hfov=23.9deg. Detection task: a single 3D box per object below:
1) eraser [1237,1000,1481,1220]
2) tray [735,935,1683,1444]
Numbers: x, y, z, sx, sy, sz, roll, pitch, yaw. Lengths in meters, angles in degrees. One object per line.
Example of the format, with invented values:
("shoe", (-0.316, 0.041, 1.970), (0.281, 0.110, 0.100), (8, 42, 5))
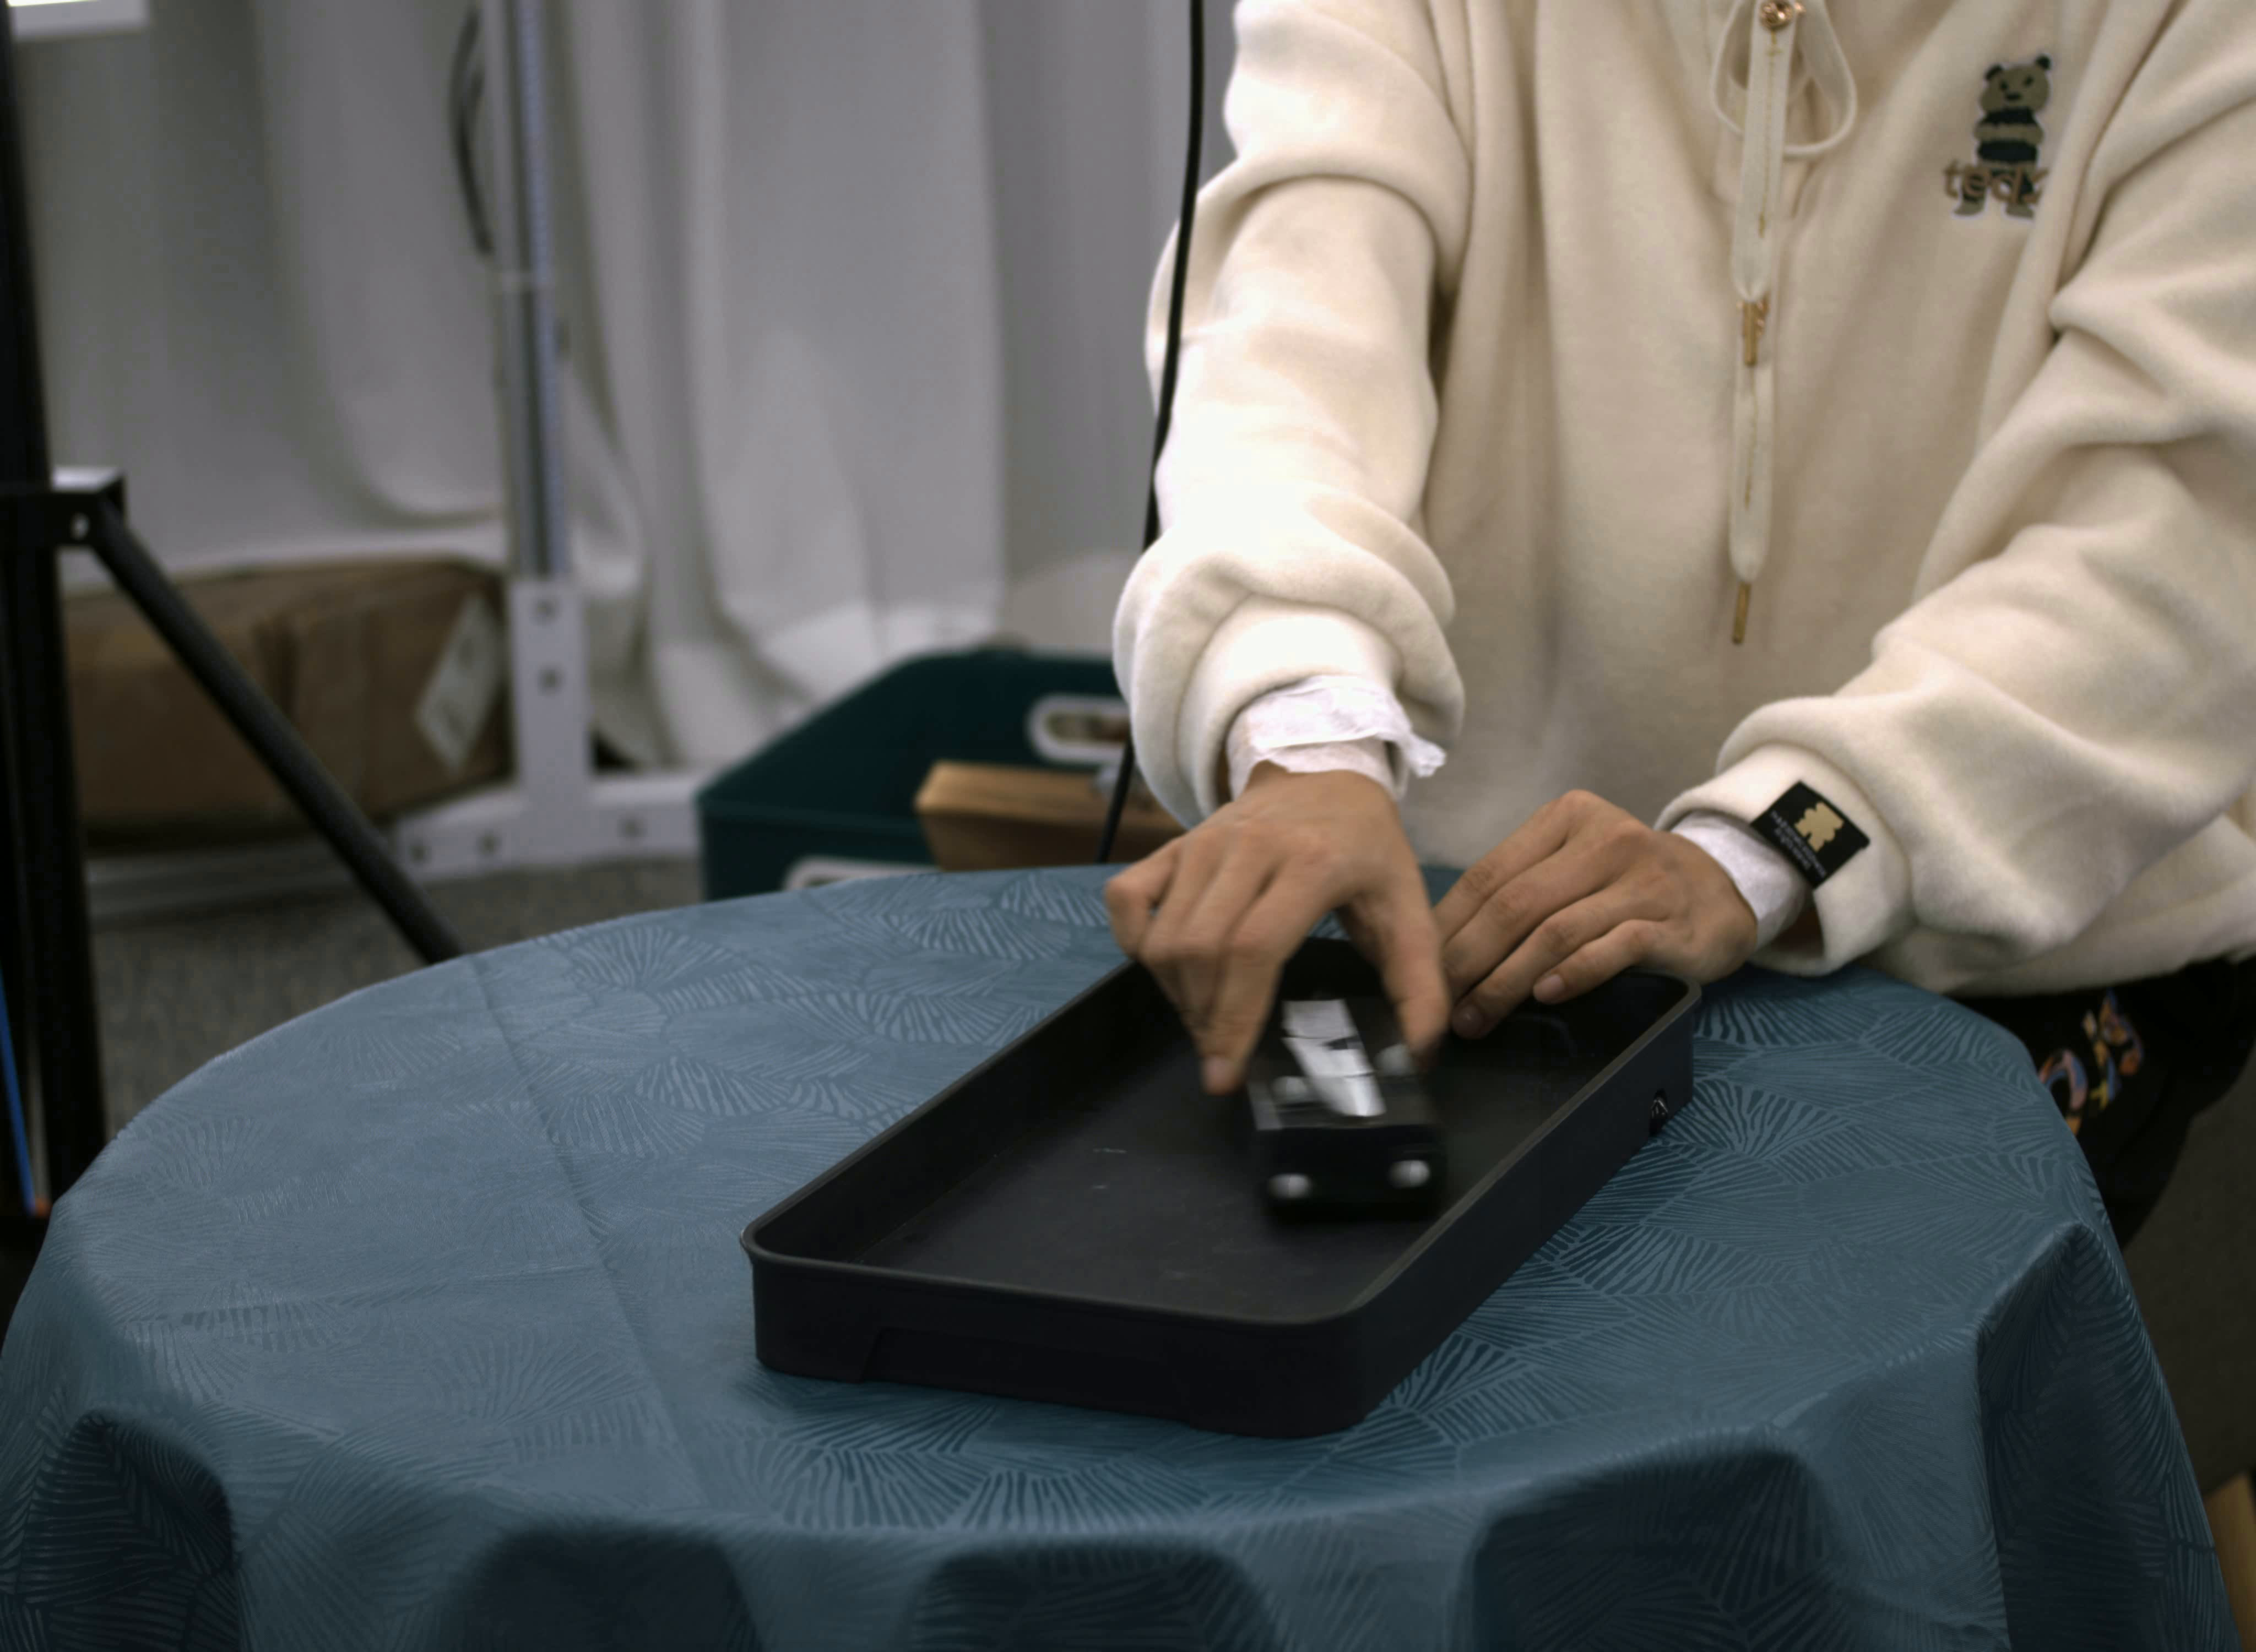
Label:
("eraser", (0.067, 0.084, 1.564), (0.053, 0.030, 0.126), (2, 15, -8))
("tray", (0.032, 0.097, 1.523), (0.187, 0.037, 0.313), (4, 17, 23))
